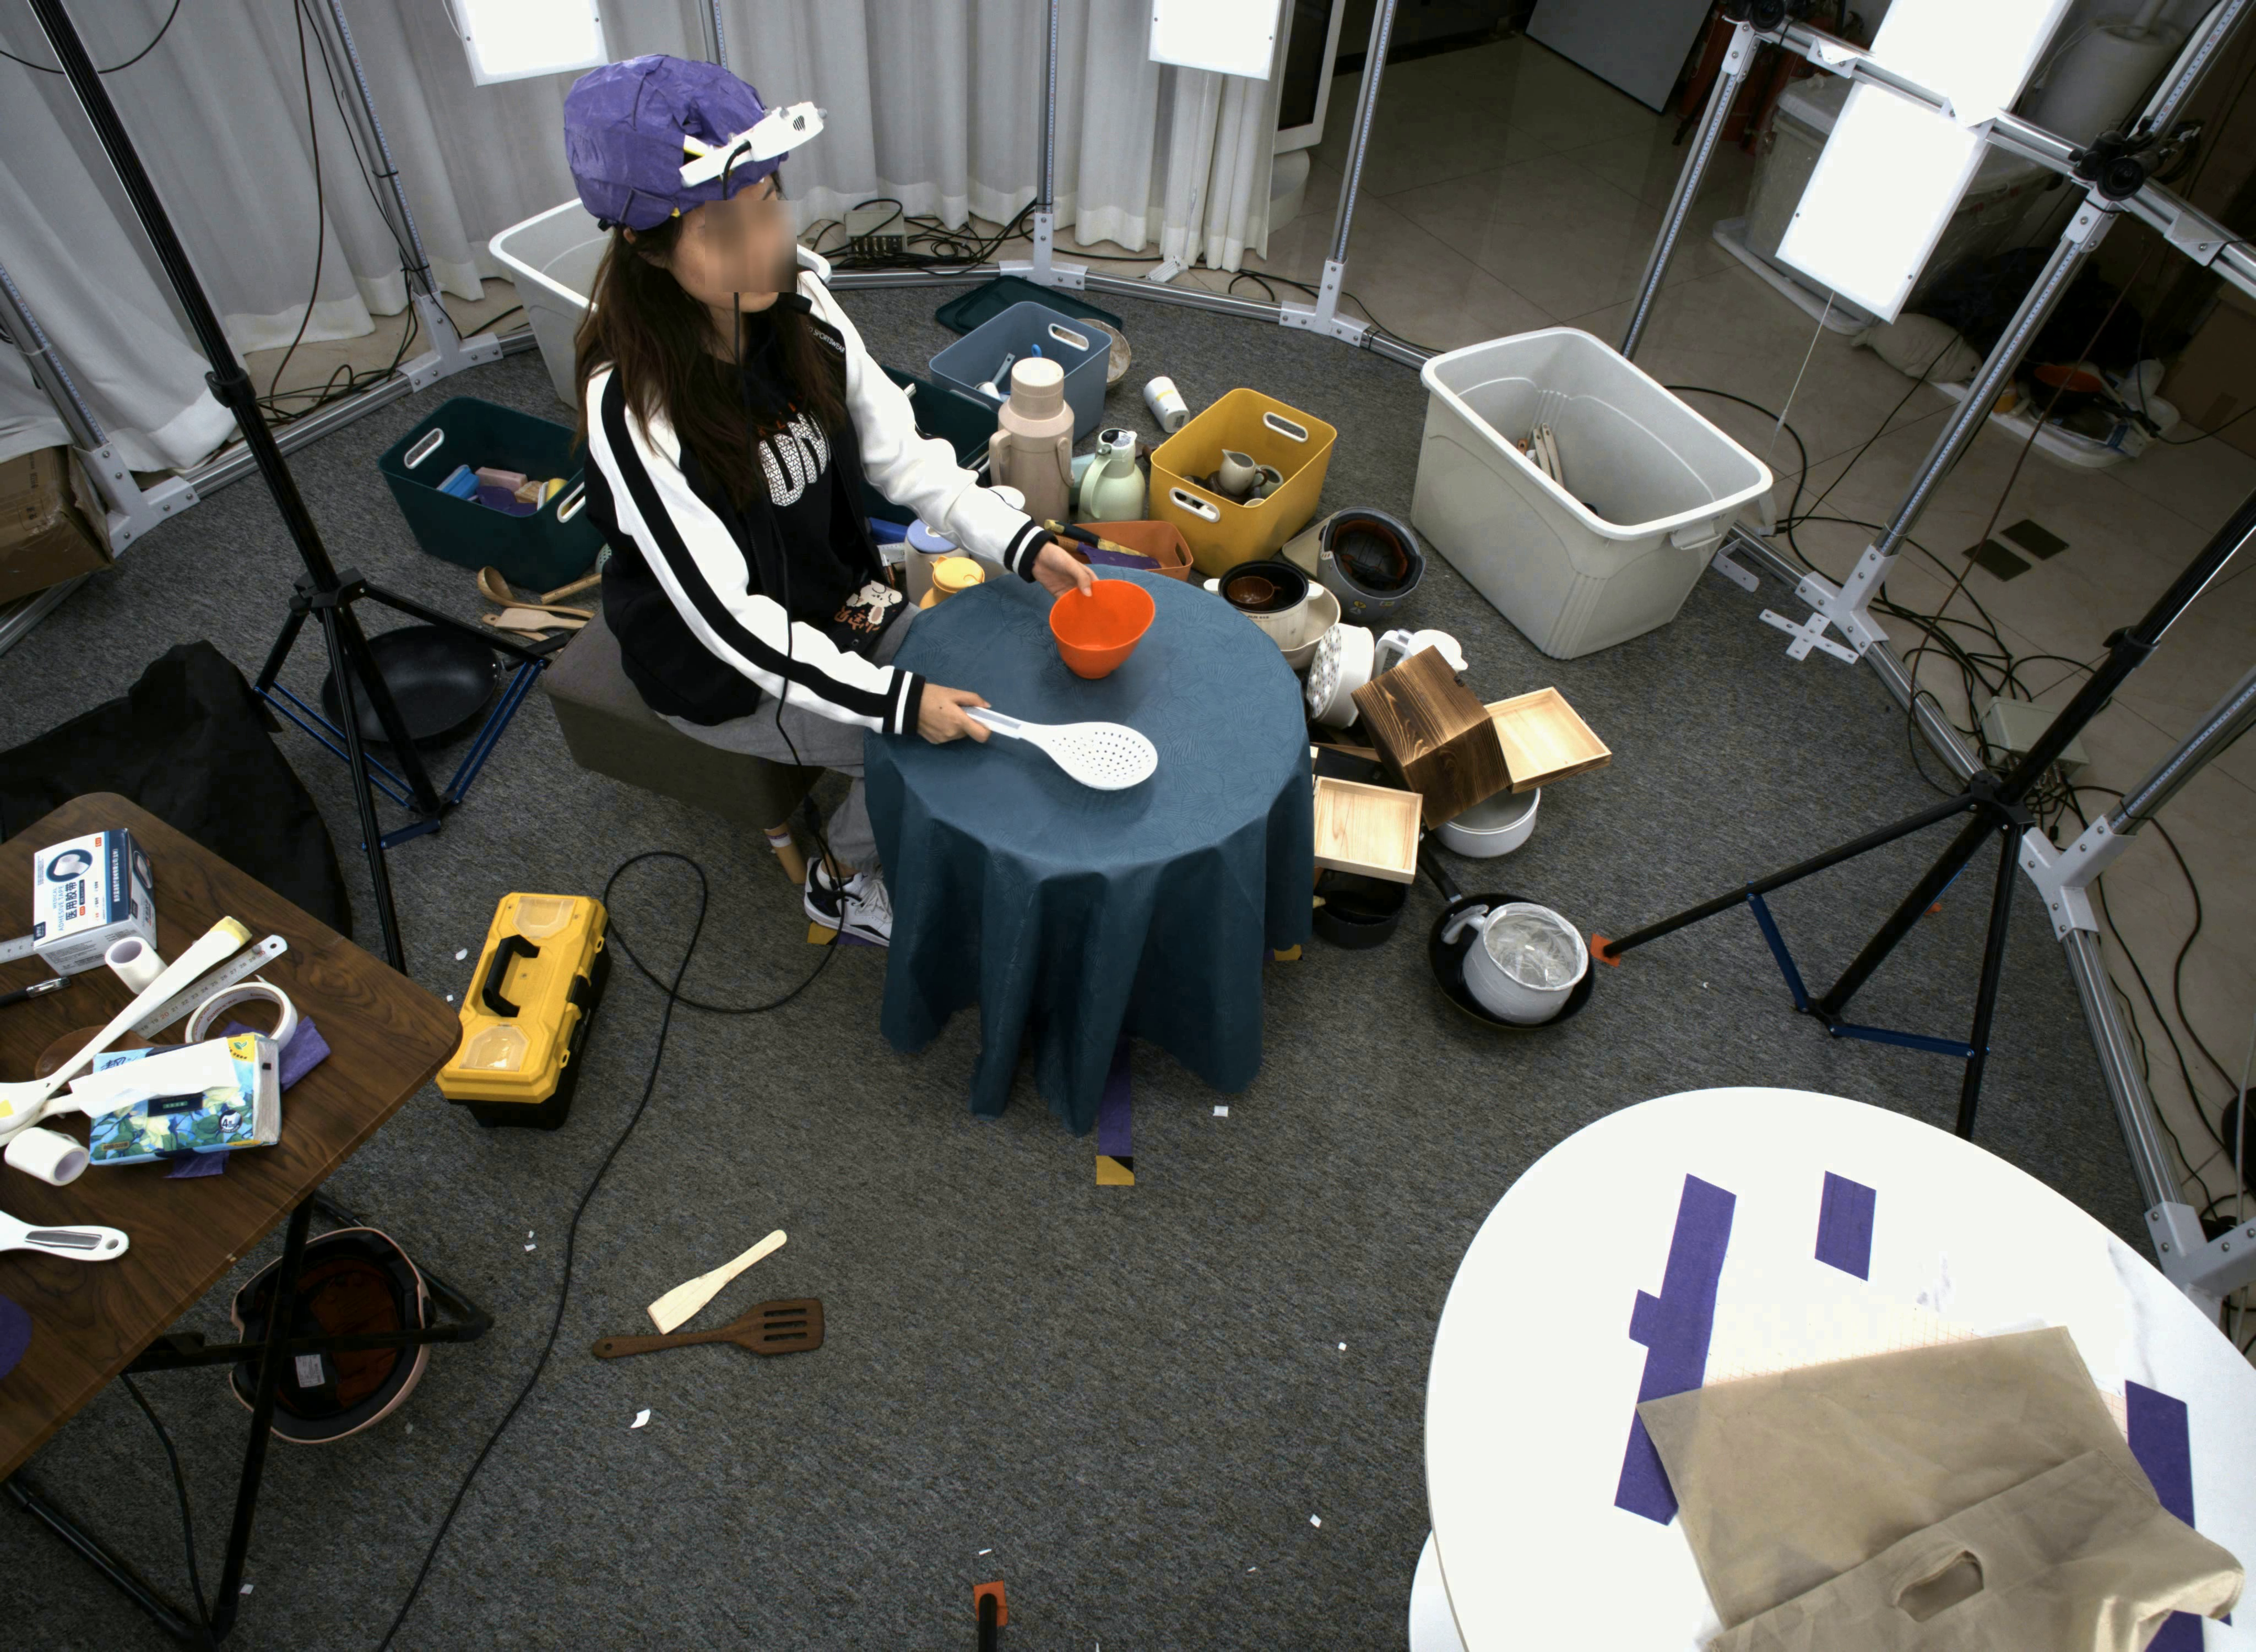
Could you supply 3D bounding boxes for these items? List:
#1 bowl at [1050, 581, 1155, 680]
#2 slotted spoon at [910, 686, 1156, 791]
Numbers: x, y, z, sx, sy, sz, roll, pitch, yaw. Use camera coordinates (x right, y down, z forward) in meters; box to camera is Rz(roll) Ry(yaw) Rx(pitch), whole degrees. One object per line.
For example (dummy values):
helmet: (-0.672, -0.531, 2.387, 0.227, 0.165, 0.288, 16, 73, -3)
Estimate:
bowl: (-0.038, -0.269, 1.835, 0.148, 0.102, 0.152, 2, 49, -2)
slotted spoon: (-0.131, -0.124, 1.724, 0.351, 0.045, 0.138, 23, 41, 8)
